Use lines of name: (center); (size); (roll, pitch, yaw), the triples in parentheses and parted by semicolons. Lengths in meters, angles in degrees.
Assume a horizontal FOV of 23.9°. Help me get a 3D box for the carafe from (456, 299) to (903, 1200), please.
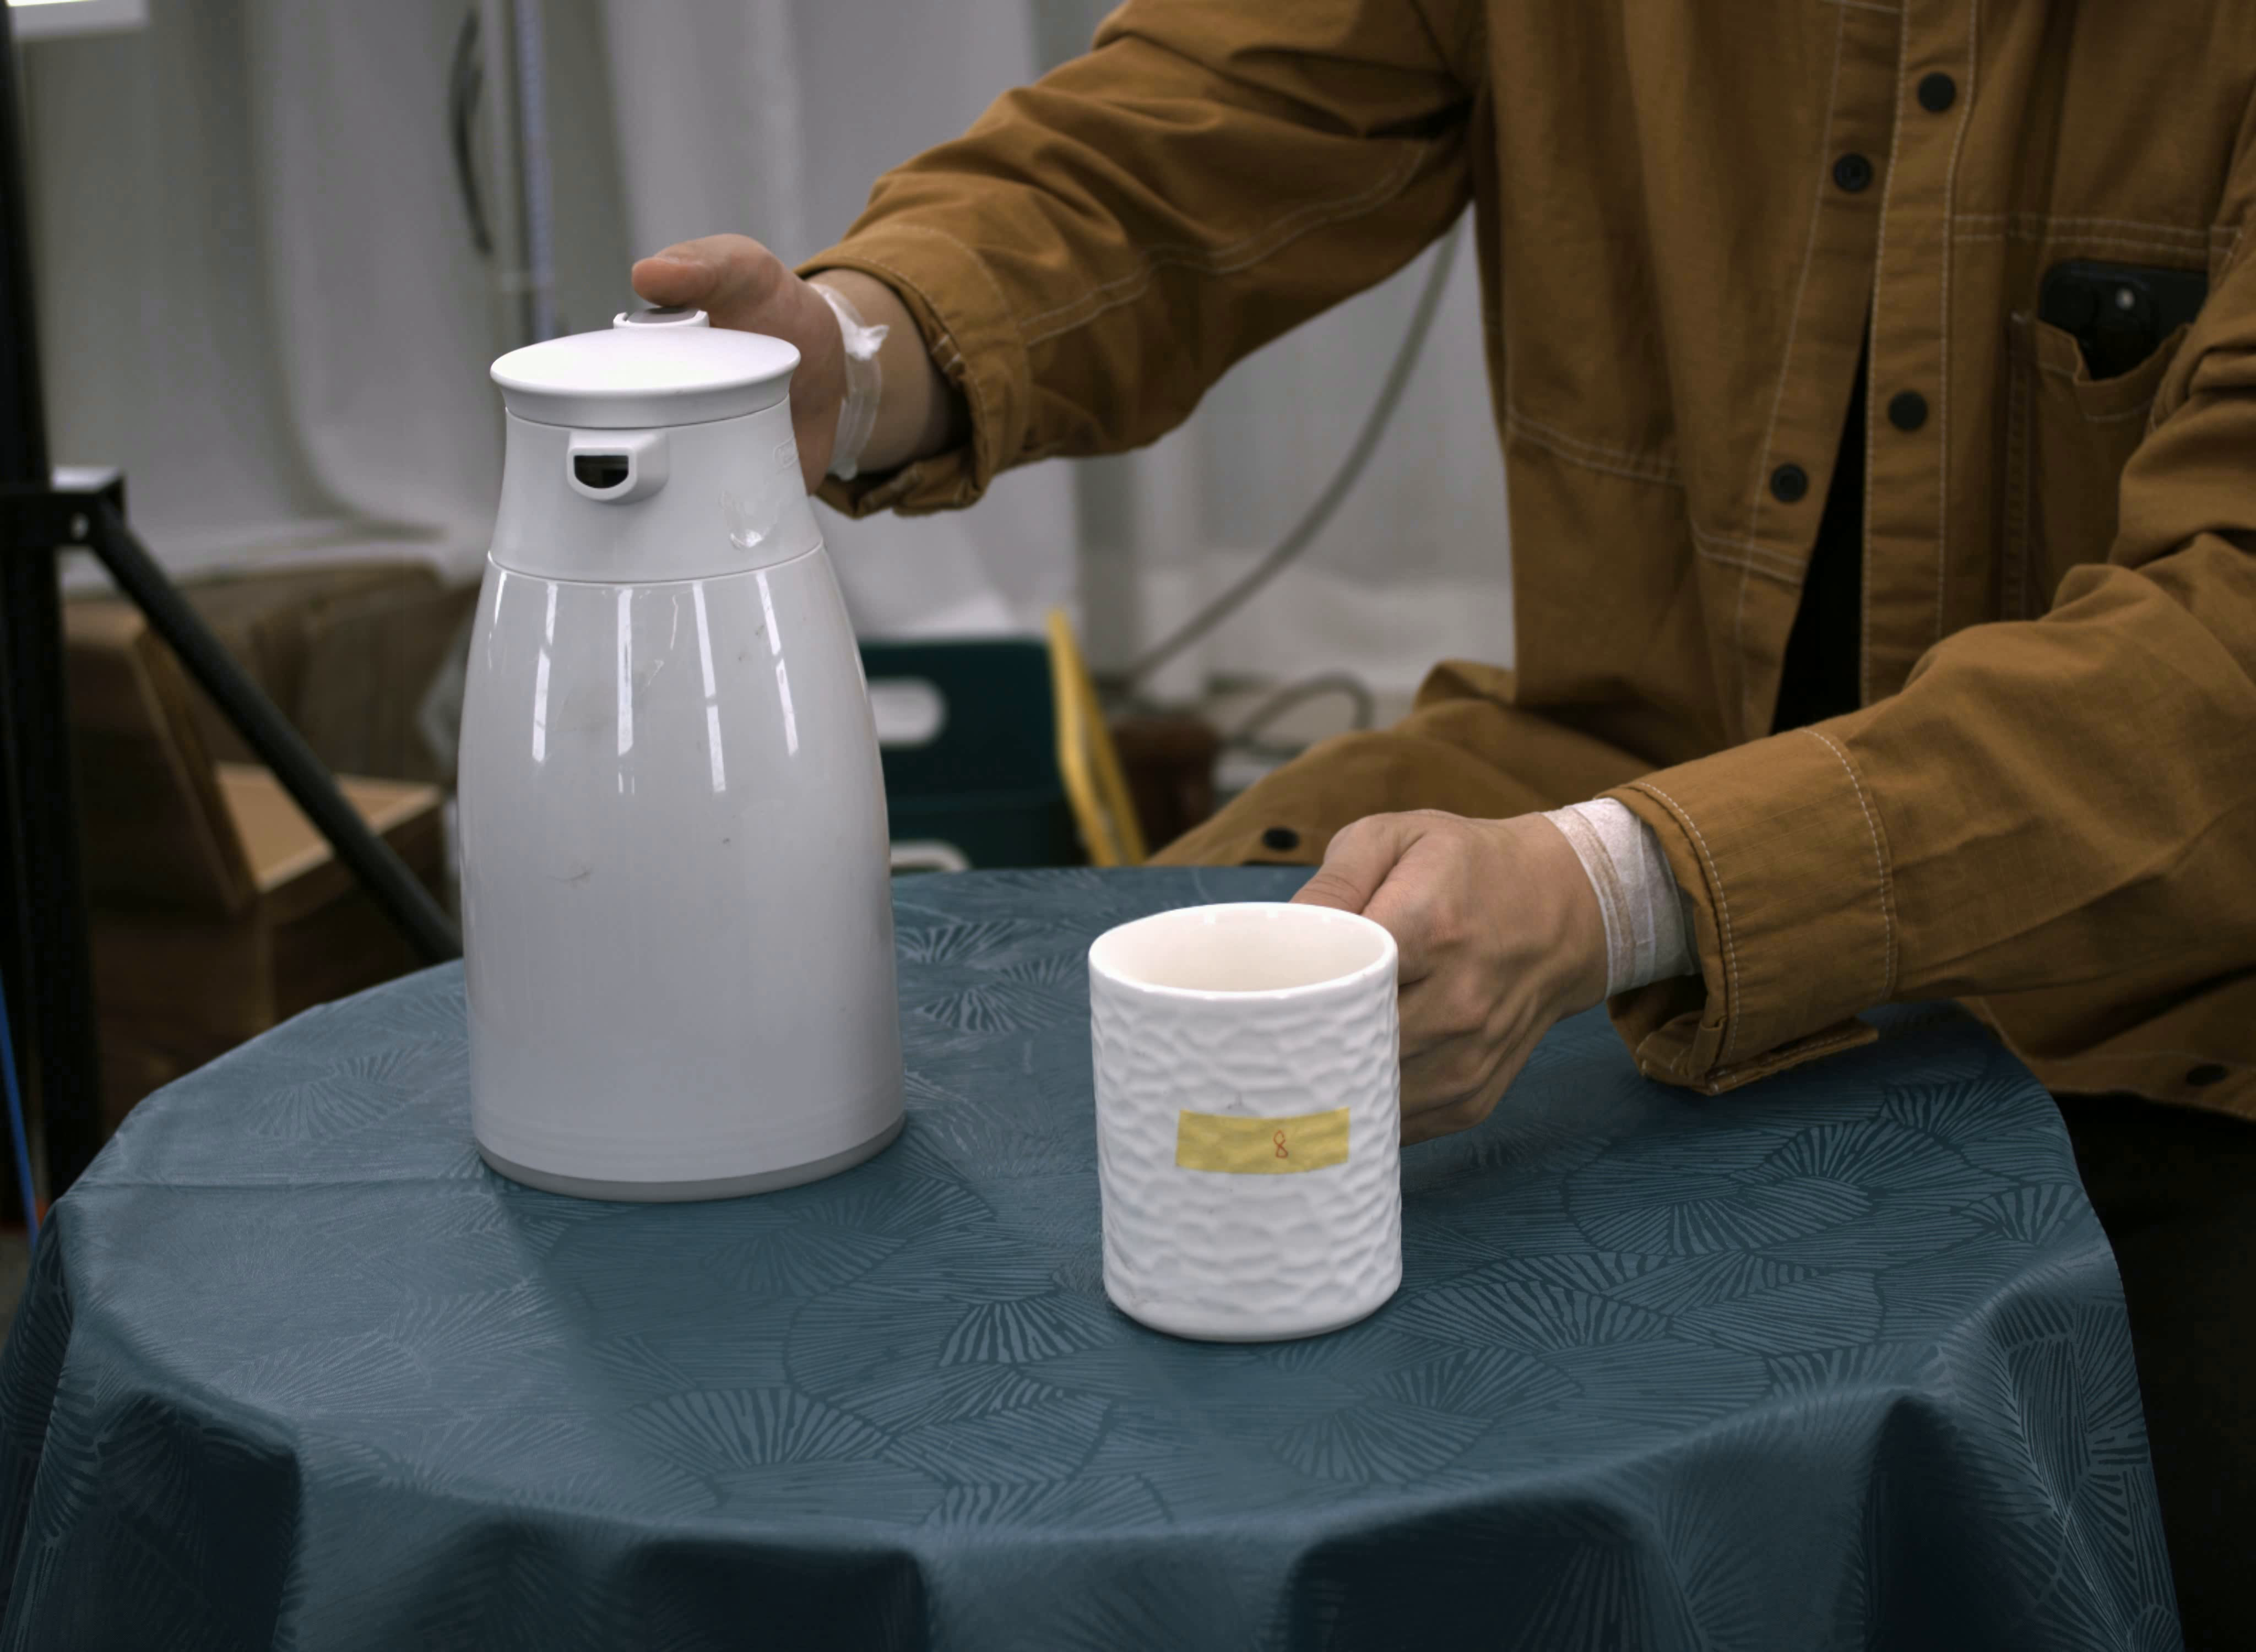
carafe: (-0.137, -0.031, 1.616); (0.133, 0.248, 0.167); (-1, 15, 8)

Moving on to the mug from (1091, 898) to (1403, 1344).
mug: (0.038, 0.076, 1.470); (0.085, 0.102, 0.117); (2, 16, 15)
